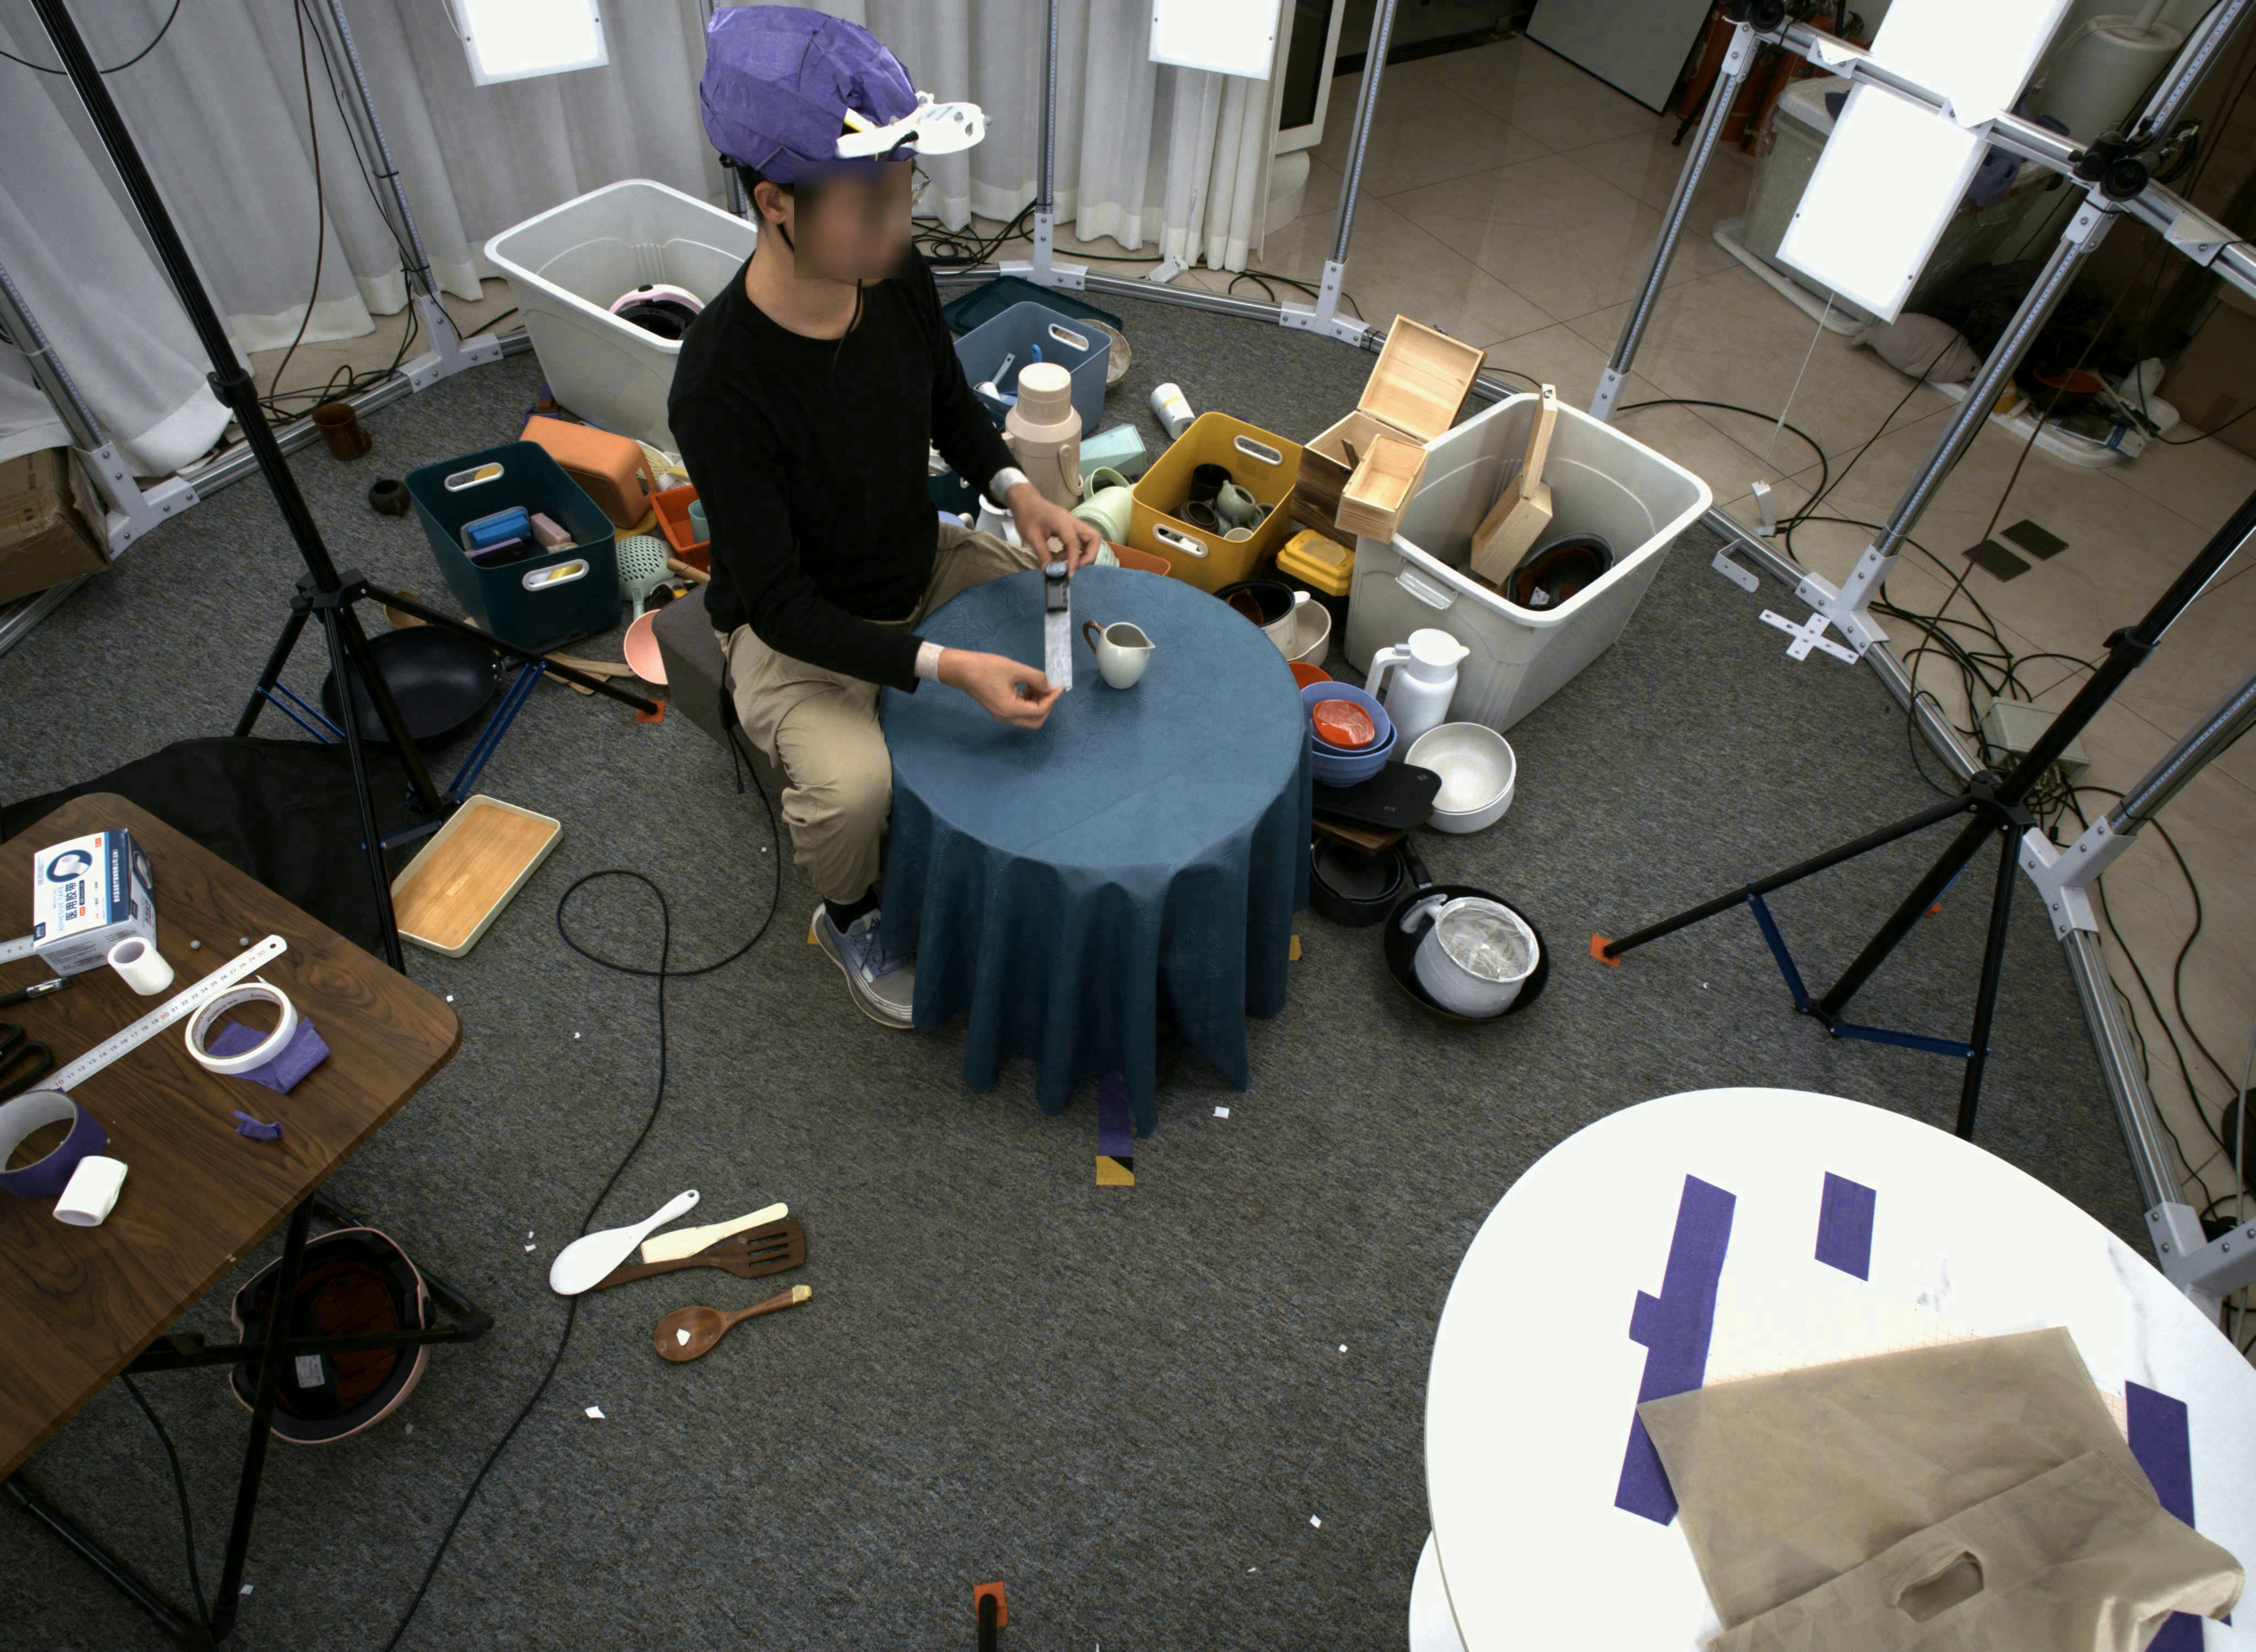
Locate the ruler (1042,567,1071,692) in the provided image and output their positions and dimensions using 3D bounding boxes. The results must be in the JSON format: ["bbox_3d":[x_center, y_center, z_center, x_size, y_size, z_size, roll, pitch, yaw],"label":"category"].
[{"bbox_3d":[-0.101,-0.277,1.782,0.038,0.023,0.223,-8,53,5],"label":"ruler"}]

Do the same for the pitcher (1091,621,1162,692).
[{"bbox_3d":[-0.006,-0.241,1.823,0.120,0.086,0.077,32,51,20],"label":"pitcher"}]
